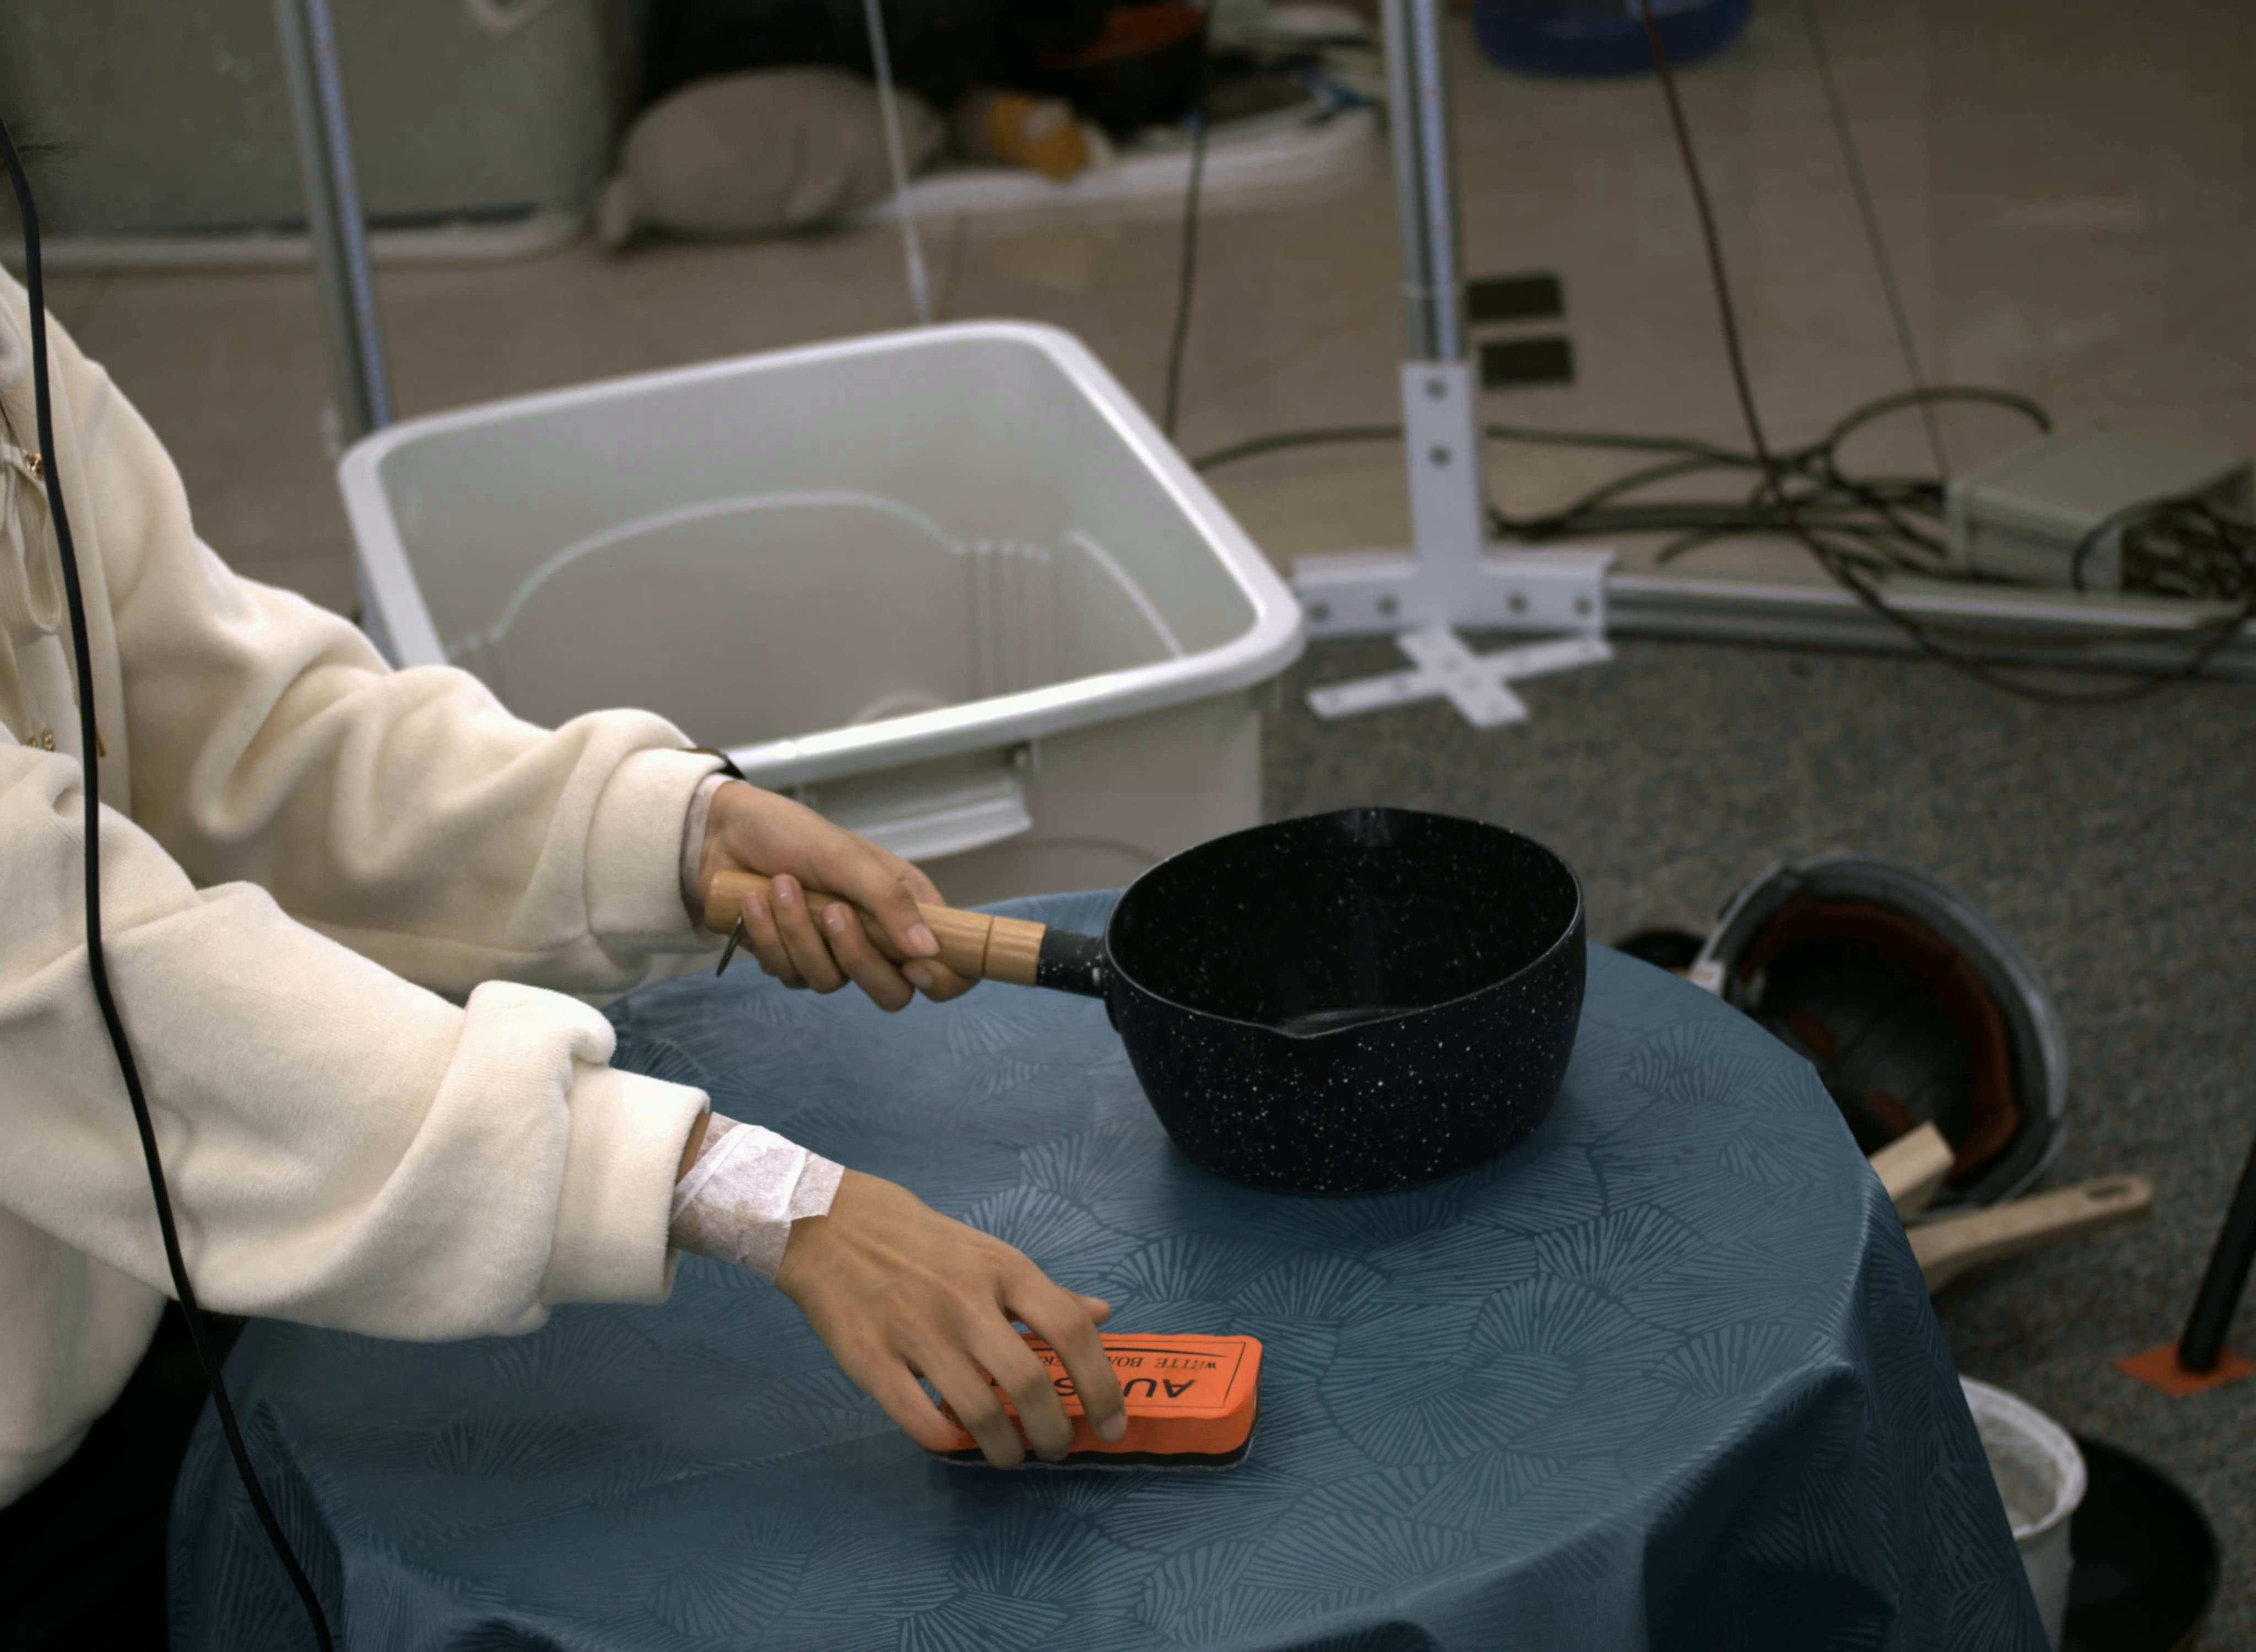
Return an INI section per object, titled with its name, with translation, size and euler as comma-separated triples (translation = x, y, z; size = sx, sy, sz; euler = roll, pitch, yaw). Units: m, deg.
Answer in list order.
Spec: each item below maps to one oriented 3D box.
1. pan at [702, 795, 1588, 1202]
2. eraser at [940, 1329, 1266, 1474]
[pan]
translation = 0.006, 0.063, 2.180
size = 0.342, 0.110, 0.204
euler = -1, 27, 8
[eraser]
translation = -0.008, 0.201, 1.989
size = 0.108, 0.023, 0.058
euler = 0, 27, 15
